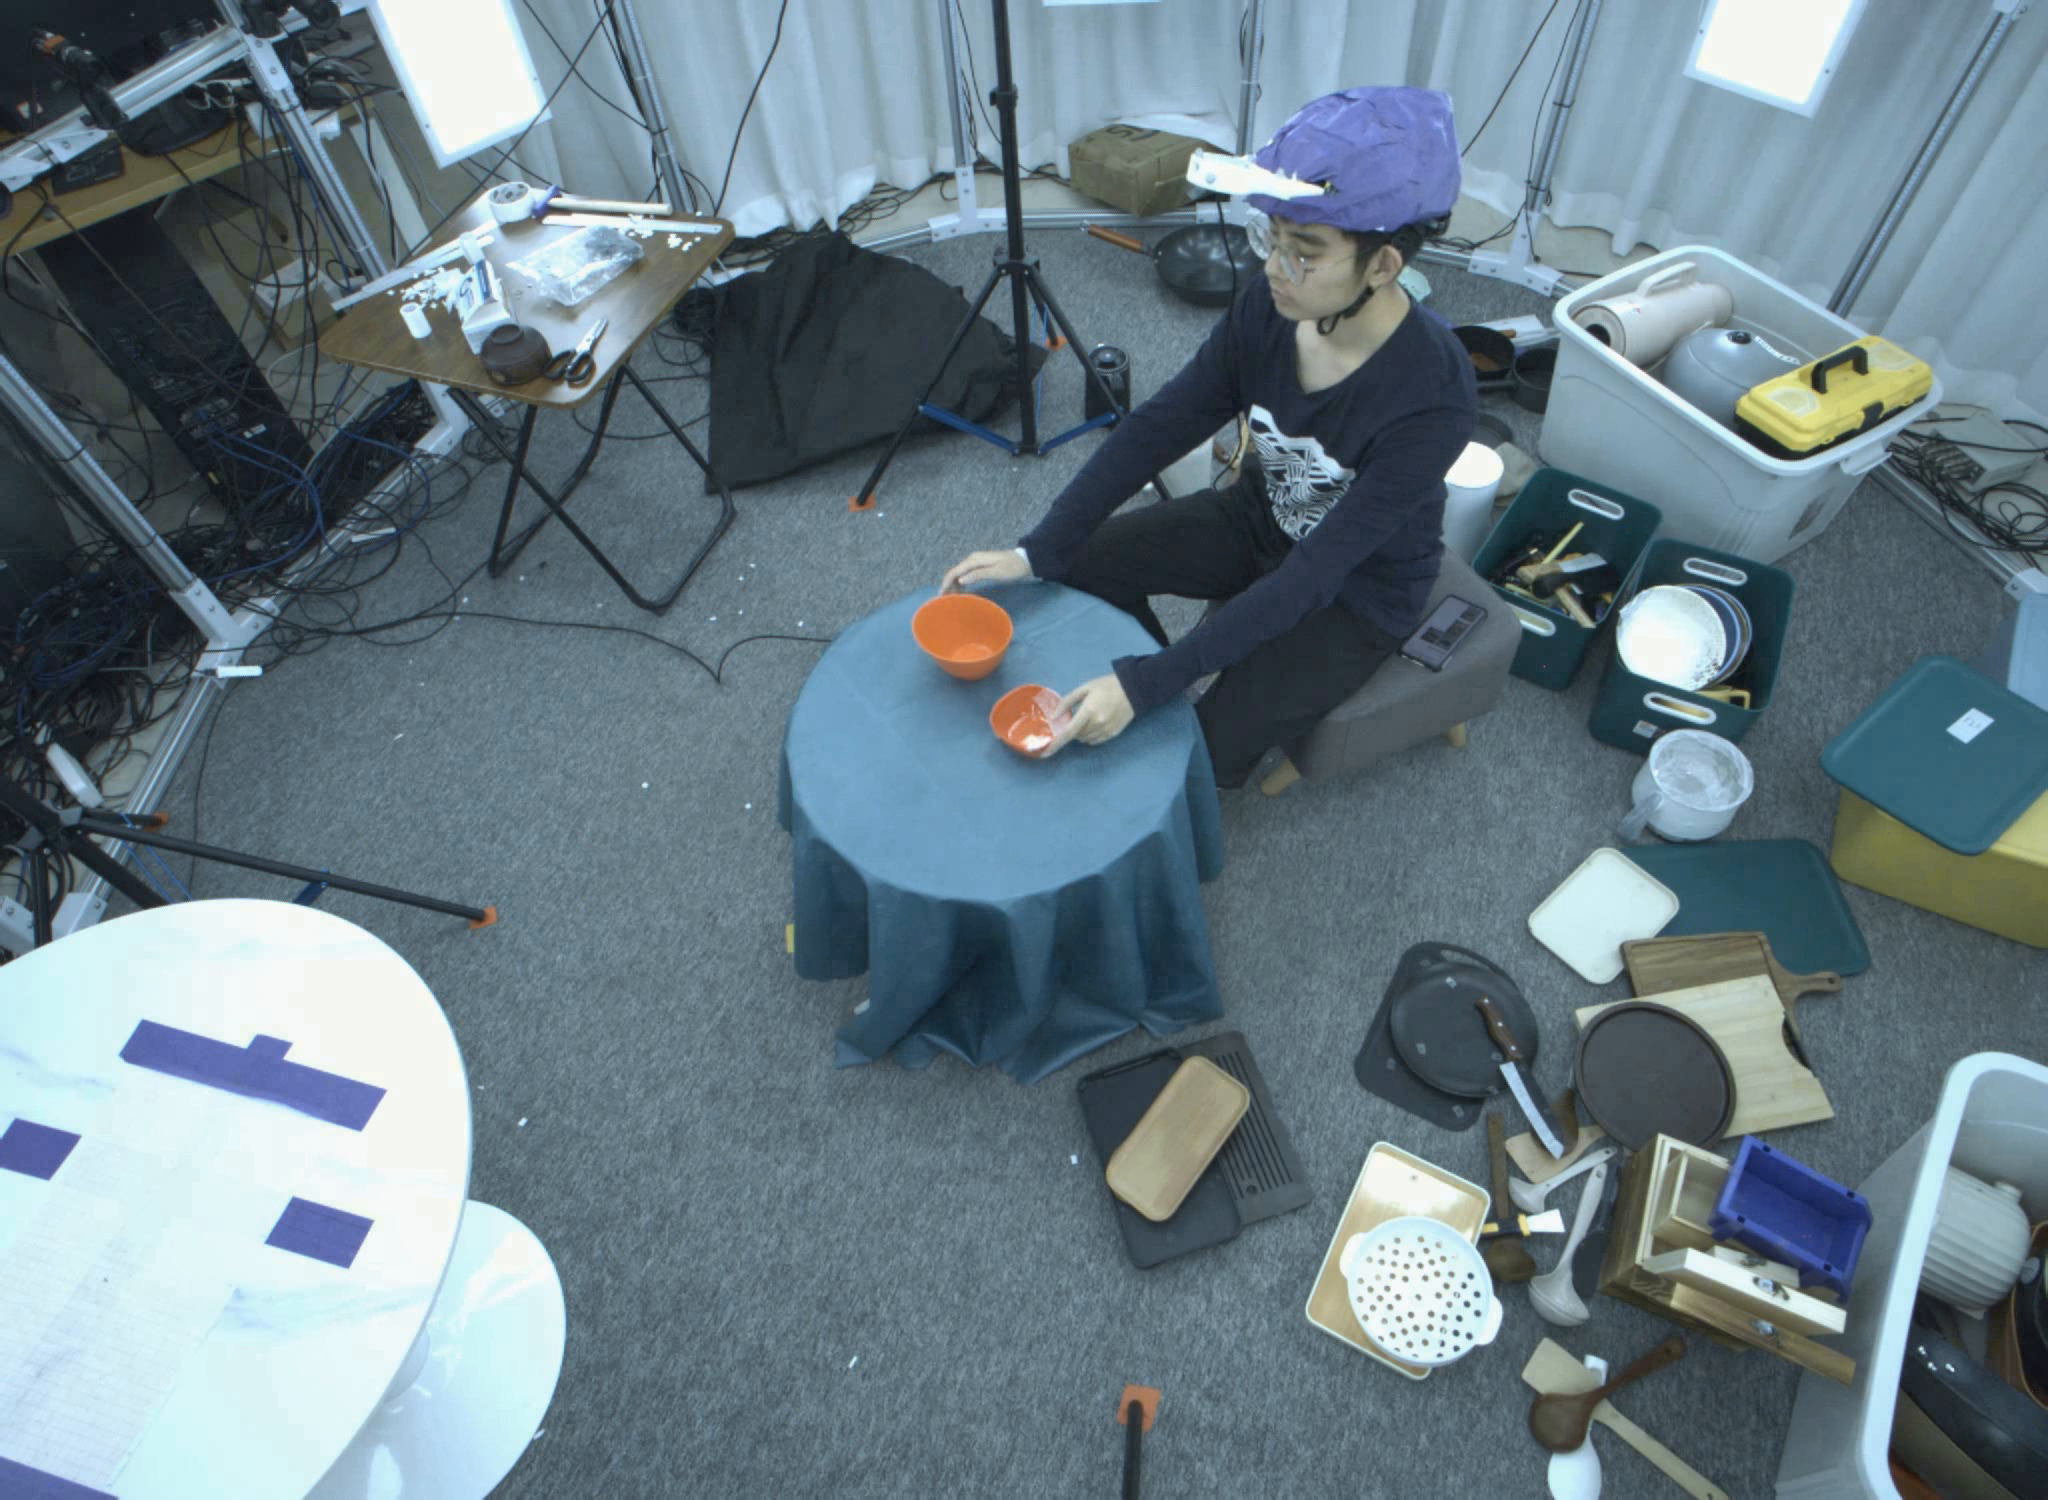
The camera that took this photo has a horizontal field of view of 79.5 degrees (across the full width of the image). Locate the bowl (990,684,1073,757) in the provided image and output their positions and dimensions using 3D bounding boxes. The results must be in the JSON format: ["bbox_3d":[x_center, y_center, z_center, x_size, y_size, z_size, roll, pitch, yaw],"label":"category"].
[{"bbox_3d":[0.012,-0.036,1.788,0.119,0.052,0.117,-1,53,3],"label":"bowl"}]

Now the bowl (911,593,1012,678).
[{"bbox_3d":[-0.091,-0.160,1.849,0.148,0.106,0.146,-1,54,2],"label":"bowl"}]
